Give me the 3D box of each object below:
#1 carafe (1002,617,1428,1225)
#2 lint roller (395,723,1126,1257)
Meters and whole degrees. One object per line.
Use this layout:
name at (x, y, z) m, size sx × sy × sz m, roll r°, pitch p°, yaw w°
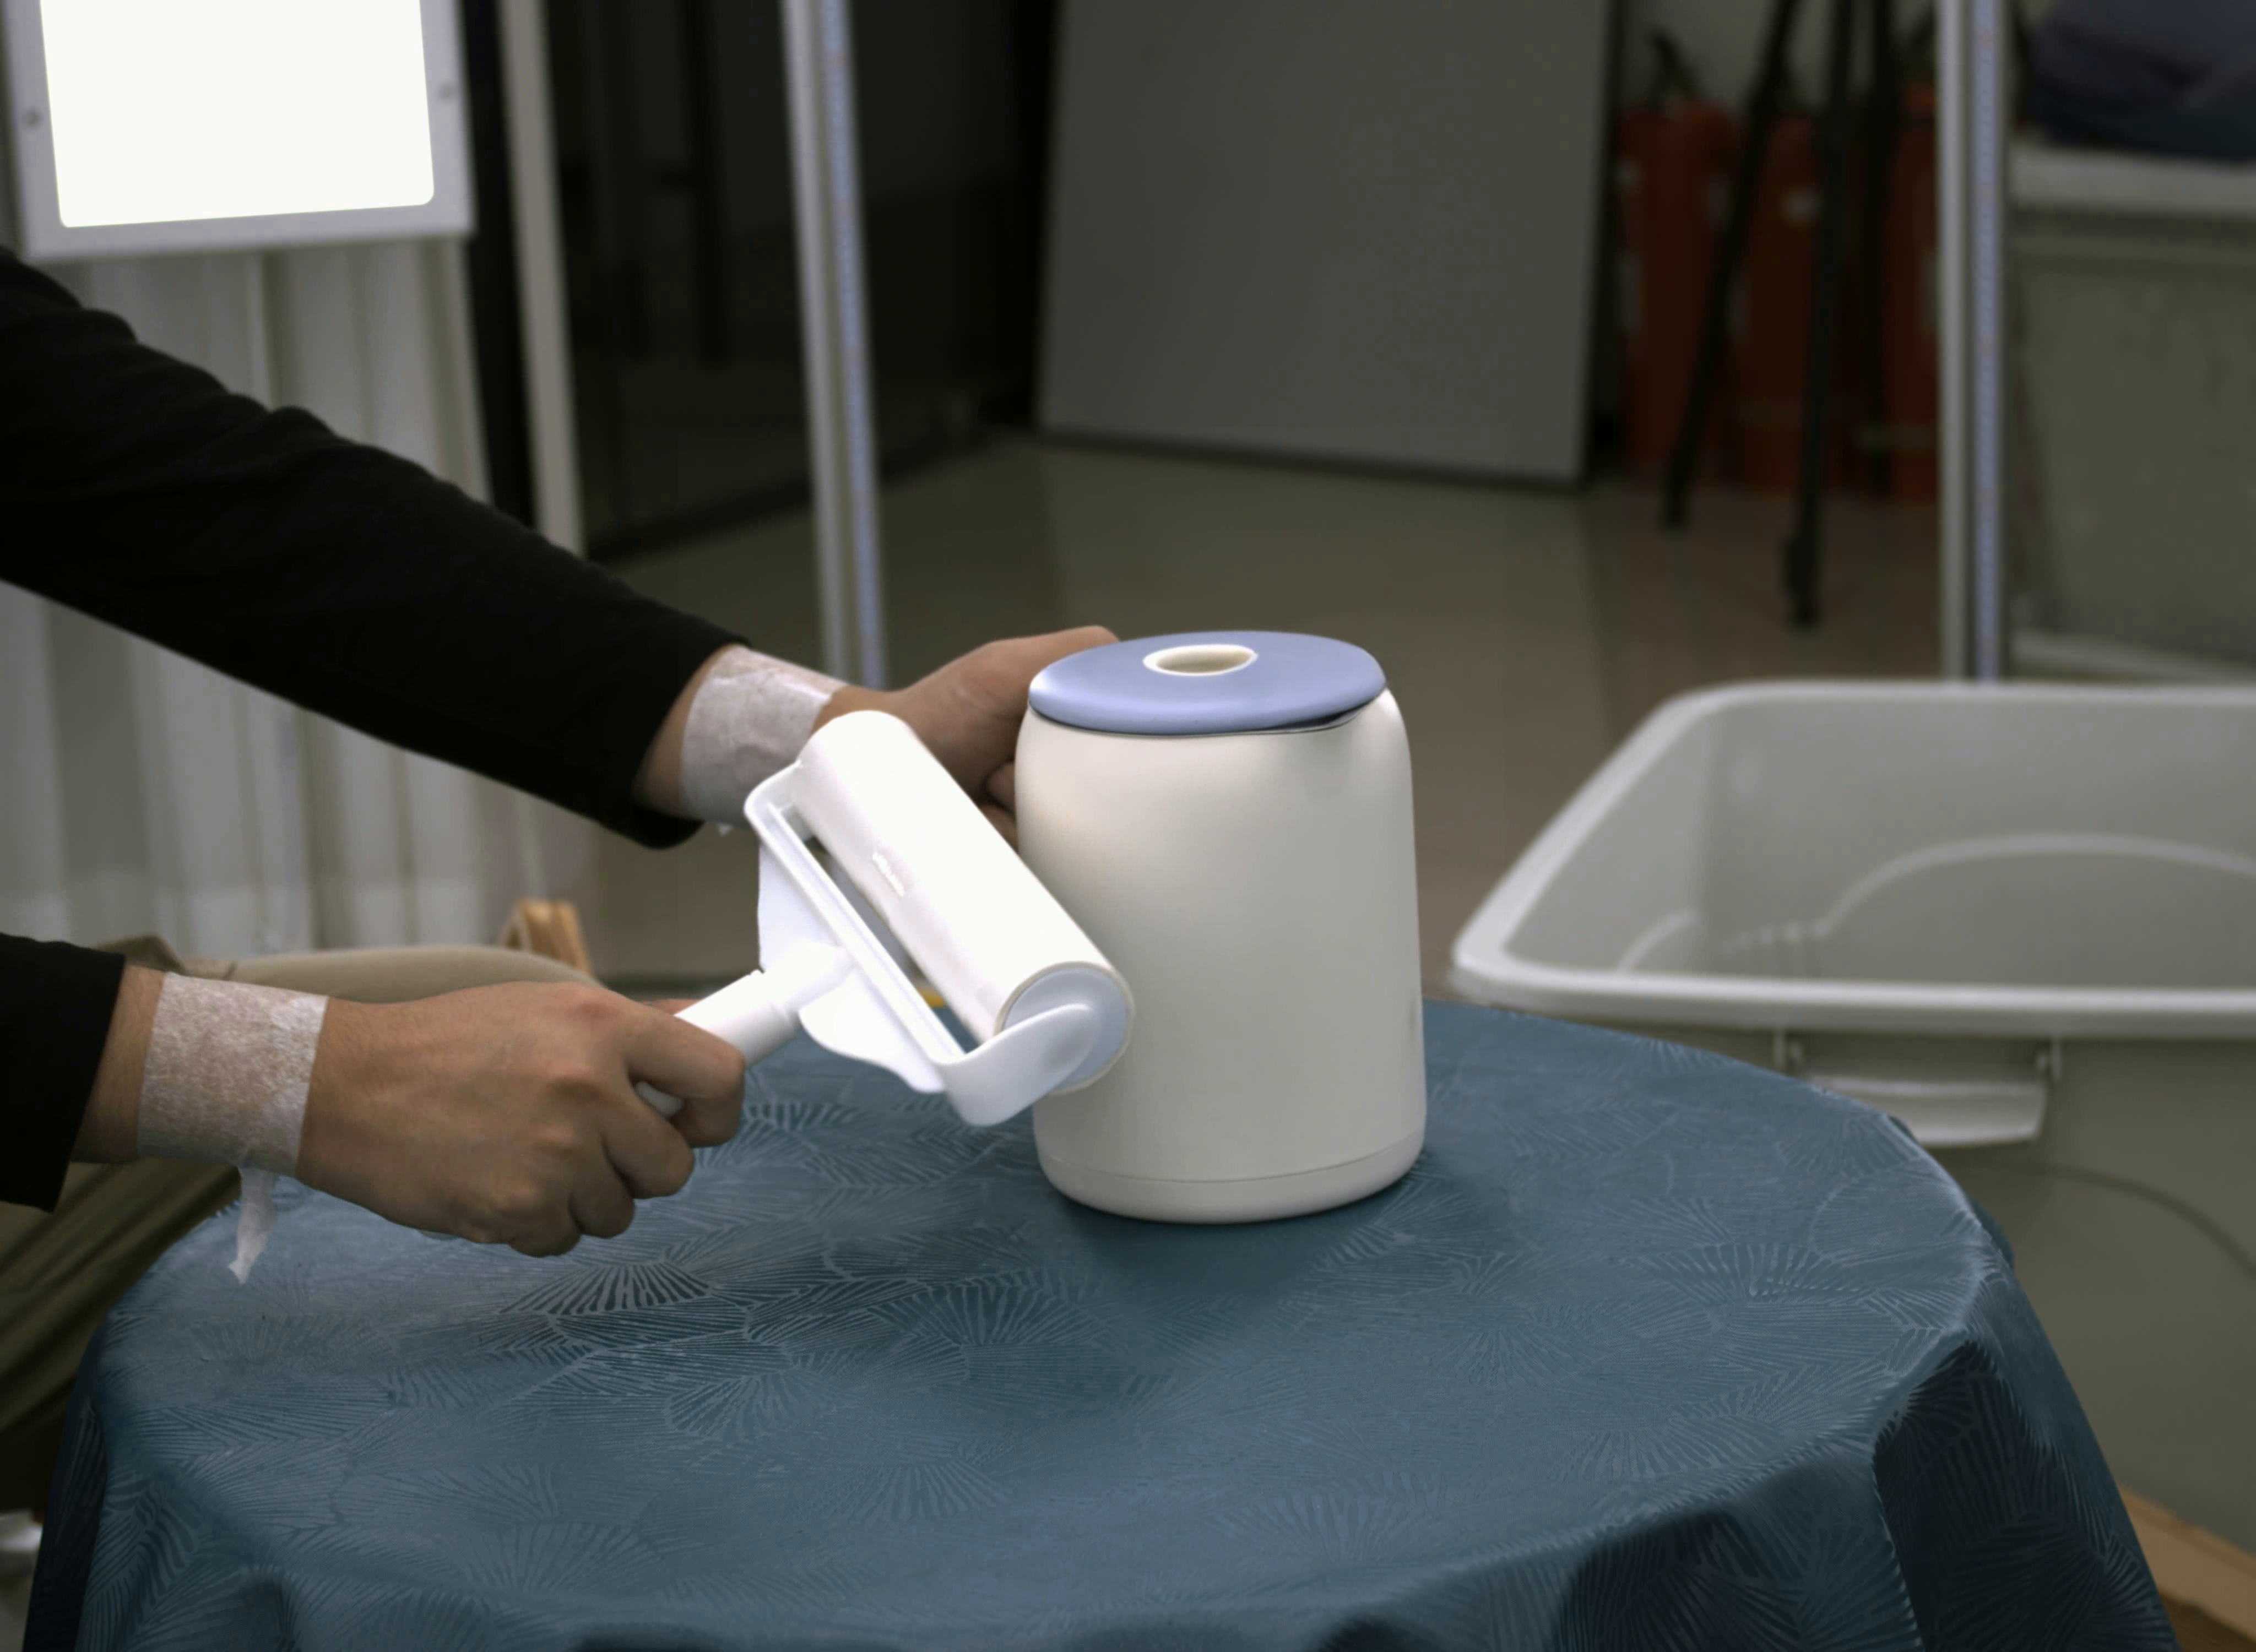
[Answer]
carafe at (0.017, 0.027, 1.785) m, size 0.129 × 0.184 × 0.193 m, roll -12°, pitch 14°, yaw -32°
lint roller at (-0.132, 0.065, 1.689) m, size 0.223 × 0.048 × 0.205 m, roll -29°, pitch 32°, yaw -11°
